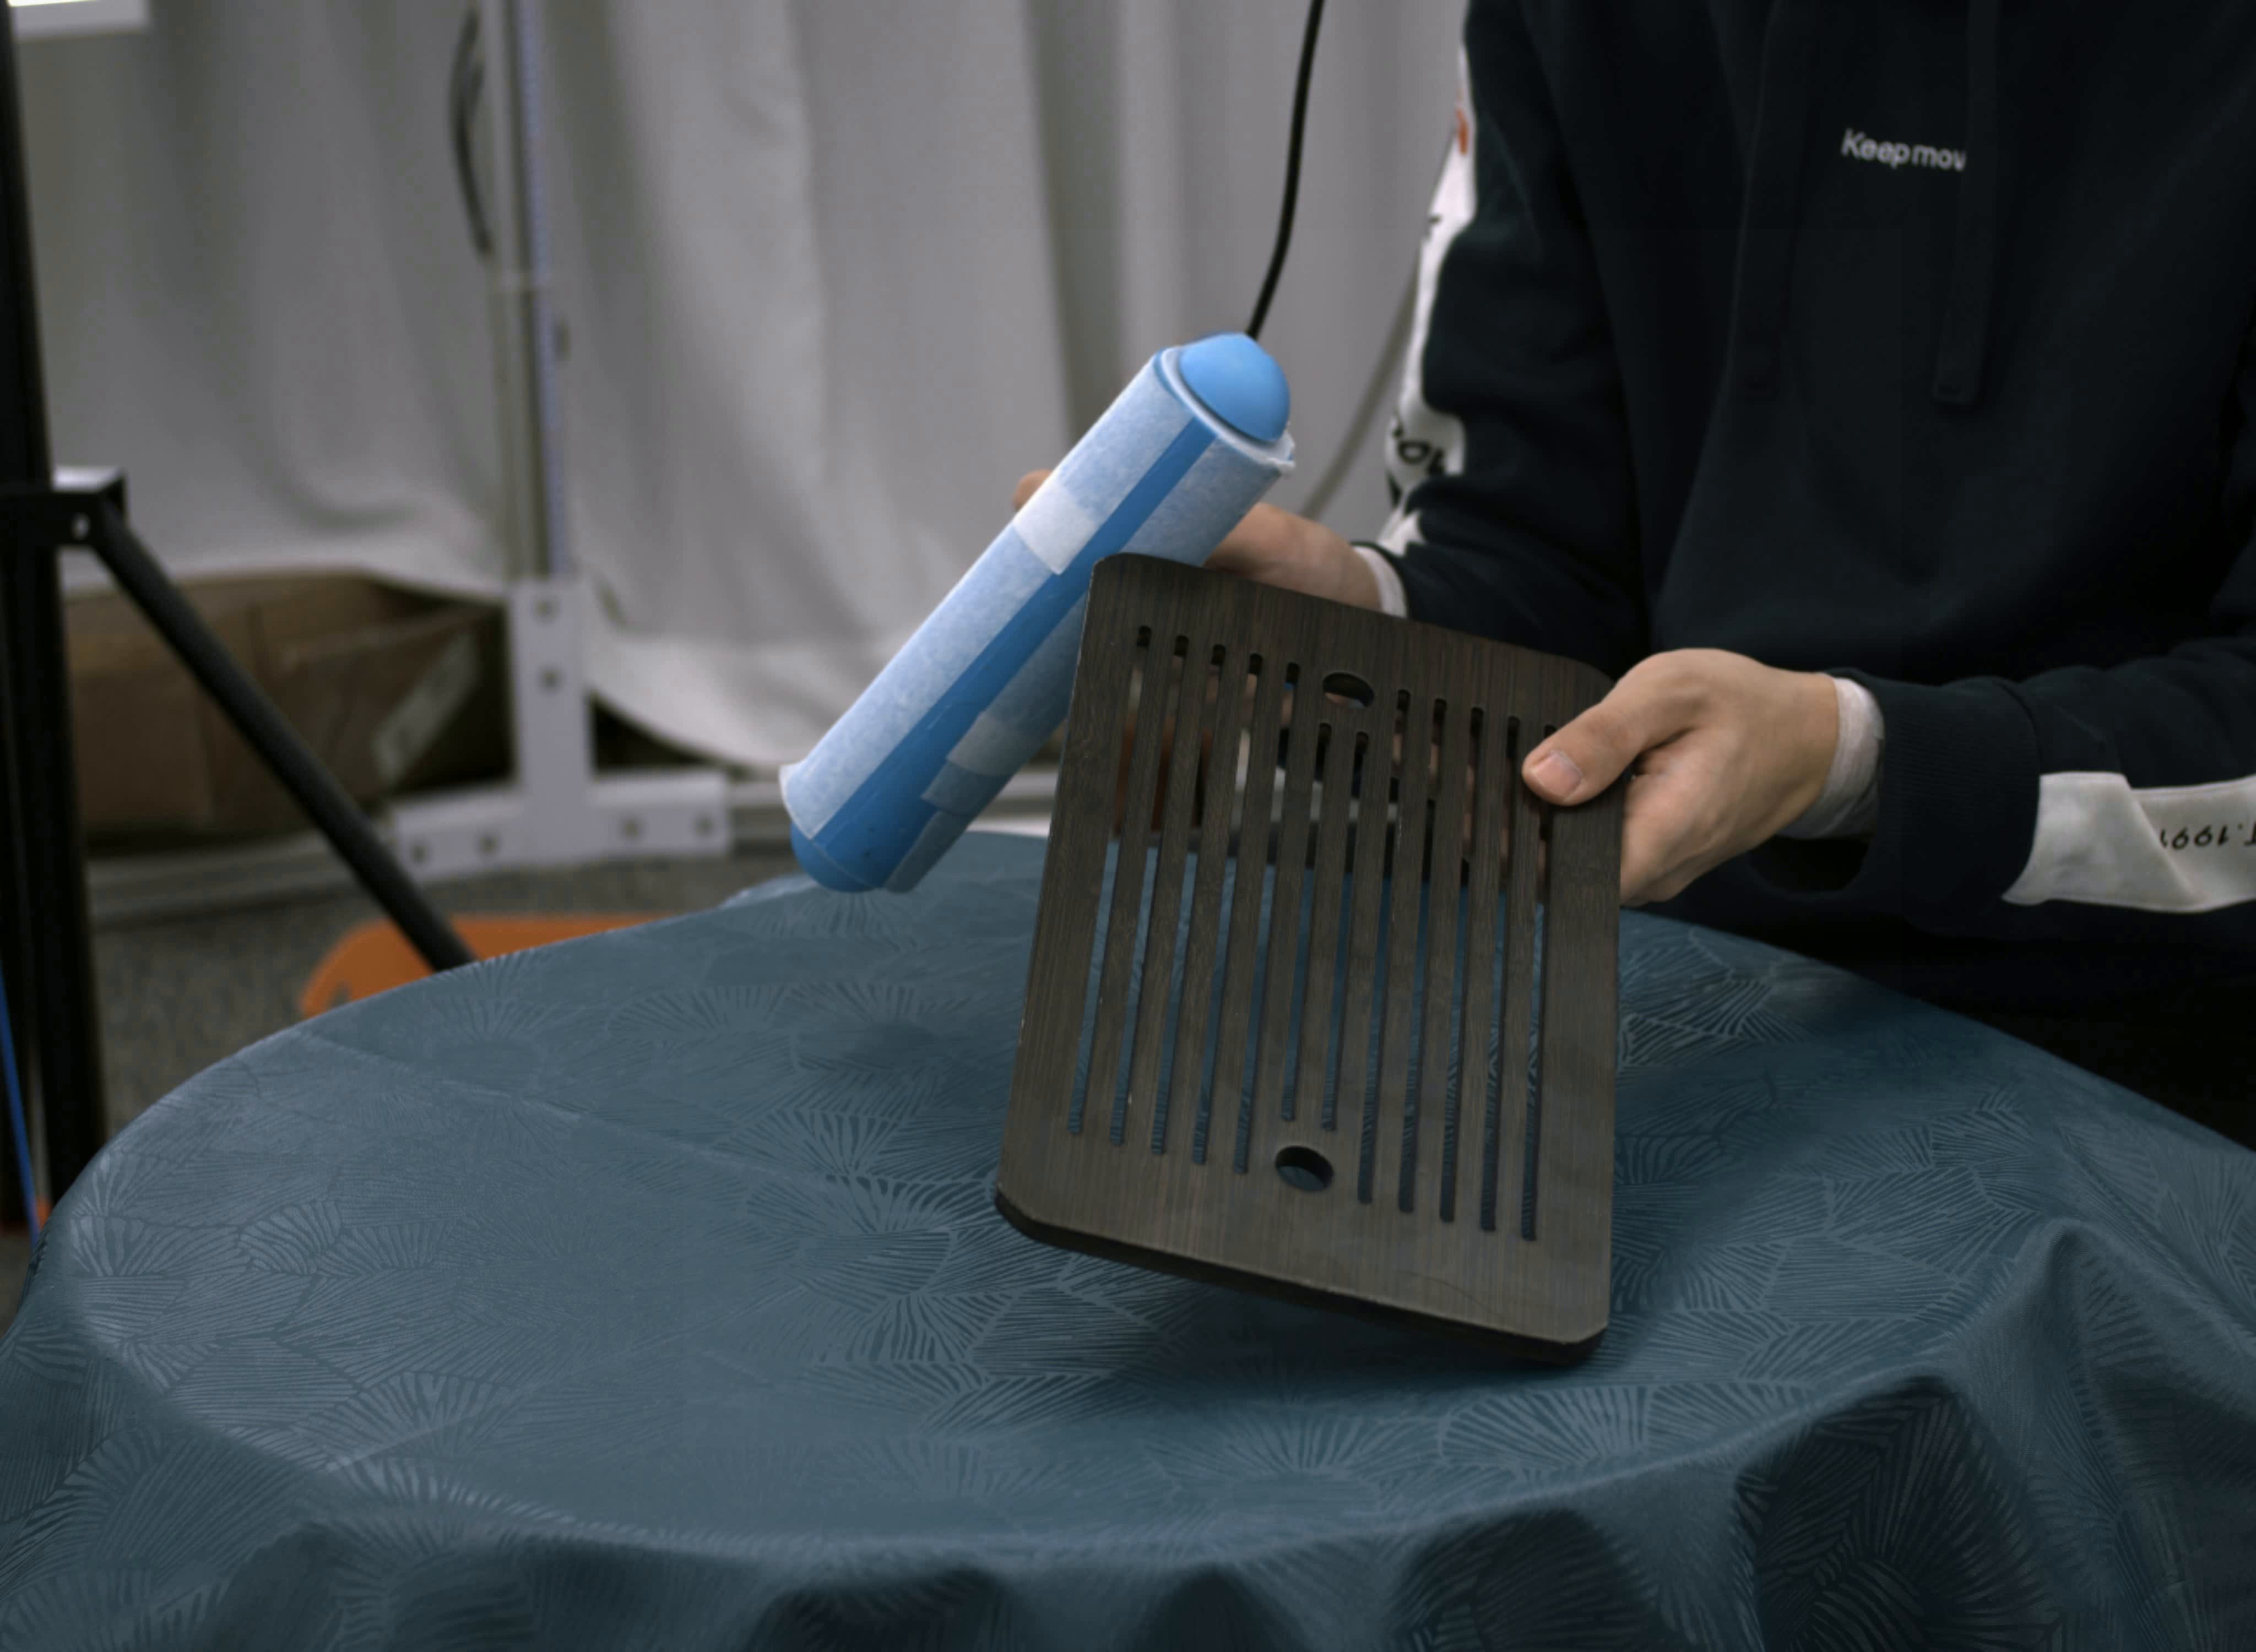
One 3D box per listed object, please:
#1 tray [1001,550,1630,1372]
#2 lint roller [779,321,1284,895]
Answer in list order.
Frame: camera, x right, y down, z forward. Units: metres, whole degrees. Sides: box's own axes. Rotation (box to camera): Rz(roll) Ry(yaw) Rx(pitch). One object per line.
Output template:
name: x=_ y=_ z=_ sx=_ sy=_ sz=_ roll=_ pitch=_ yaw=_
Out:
tray: x=0.059 y=0.034 z=1.518 sx=0.169 sy=0.018 sz=0.308 roll=12 pitch=39 yaw=-3
lint roller: x=-0.006 y=-0.065 z=1.723 sx=0.069 sy=0.230 sz=0.176 roll=48 pitch=20 yaw=19
